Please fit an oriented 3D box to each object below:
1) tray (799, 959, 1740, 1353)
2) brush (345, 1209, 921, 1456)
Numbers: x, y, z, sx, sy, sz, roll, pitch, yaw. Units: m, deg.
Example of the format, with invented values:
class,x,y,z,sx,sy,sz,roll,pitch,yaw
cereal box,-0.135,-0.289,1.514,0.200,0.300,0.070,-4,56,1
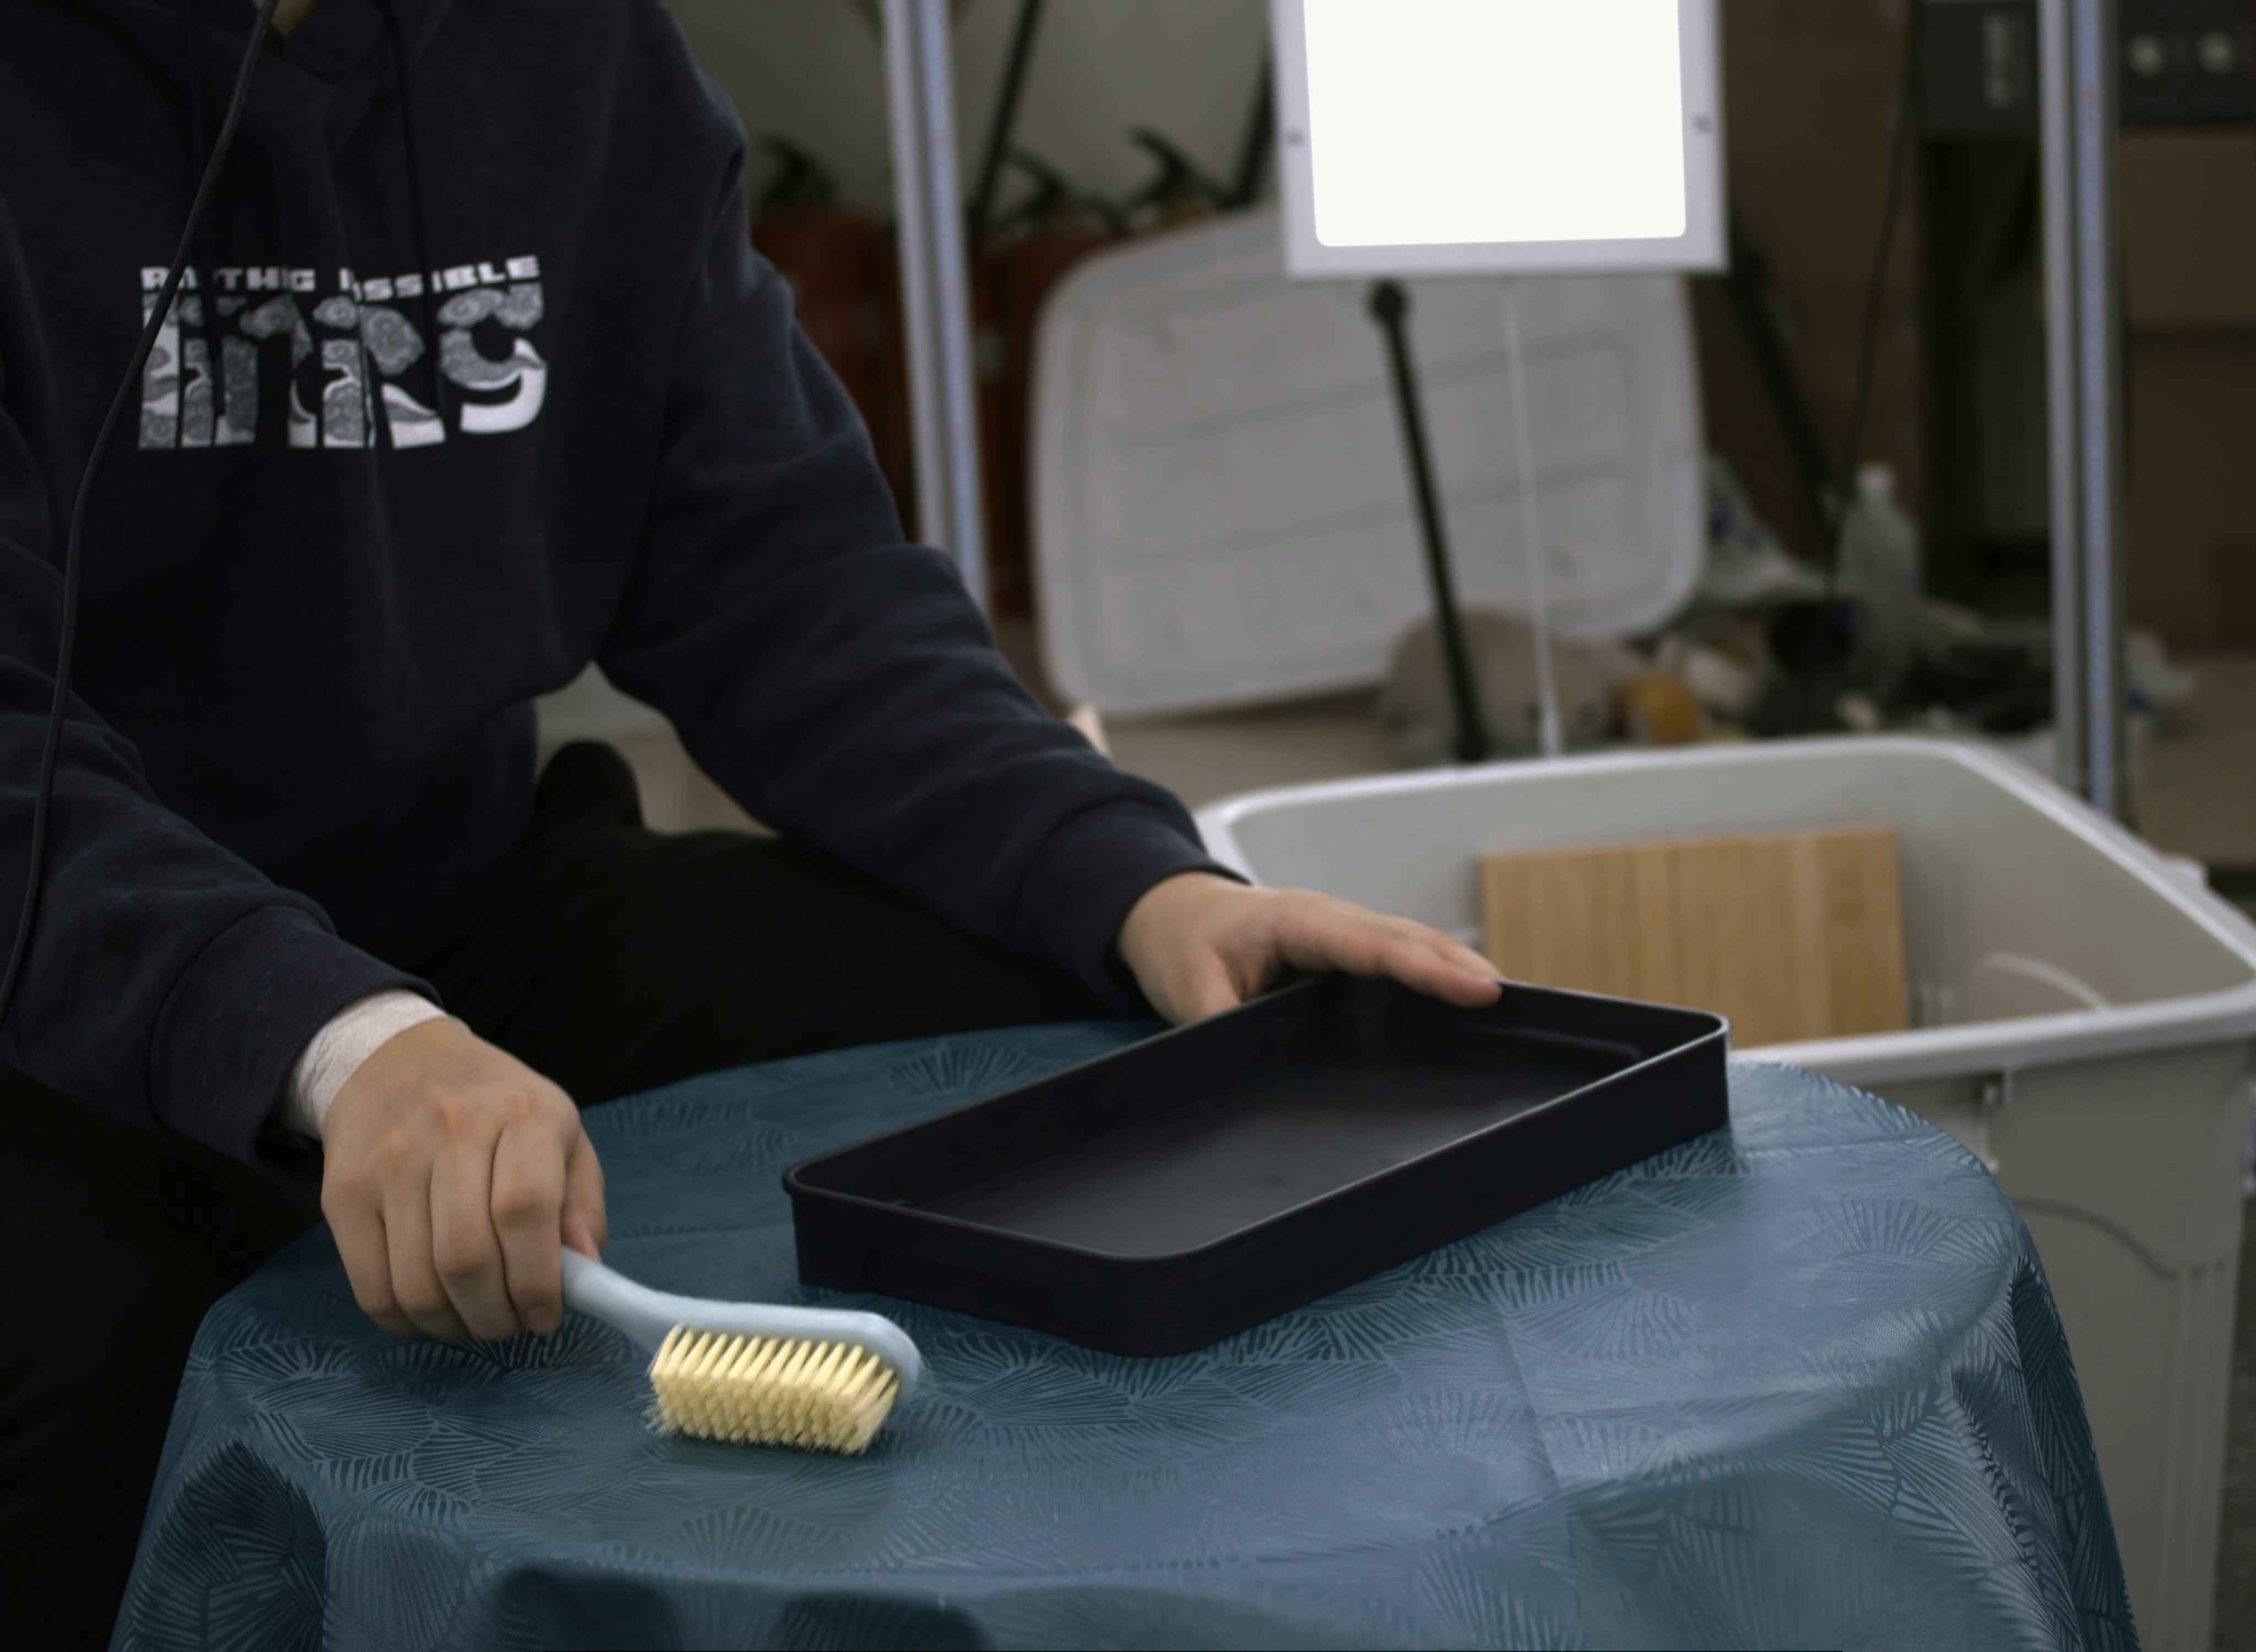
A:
class,x,y,z,sx,sy,sz,roll,pitch,yaw
tray,0.054,0.107,1.883,0.188,0.037,0.310,7,18,42
brush,-0.164,0.155,1.724,0.233,0.038,0.049,13,43,38
